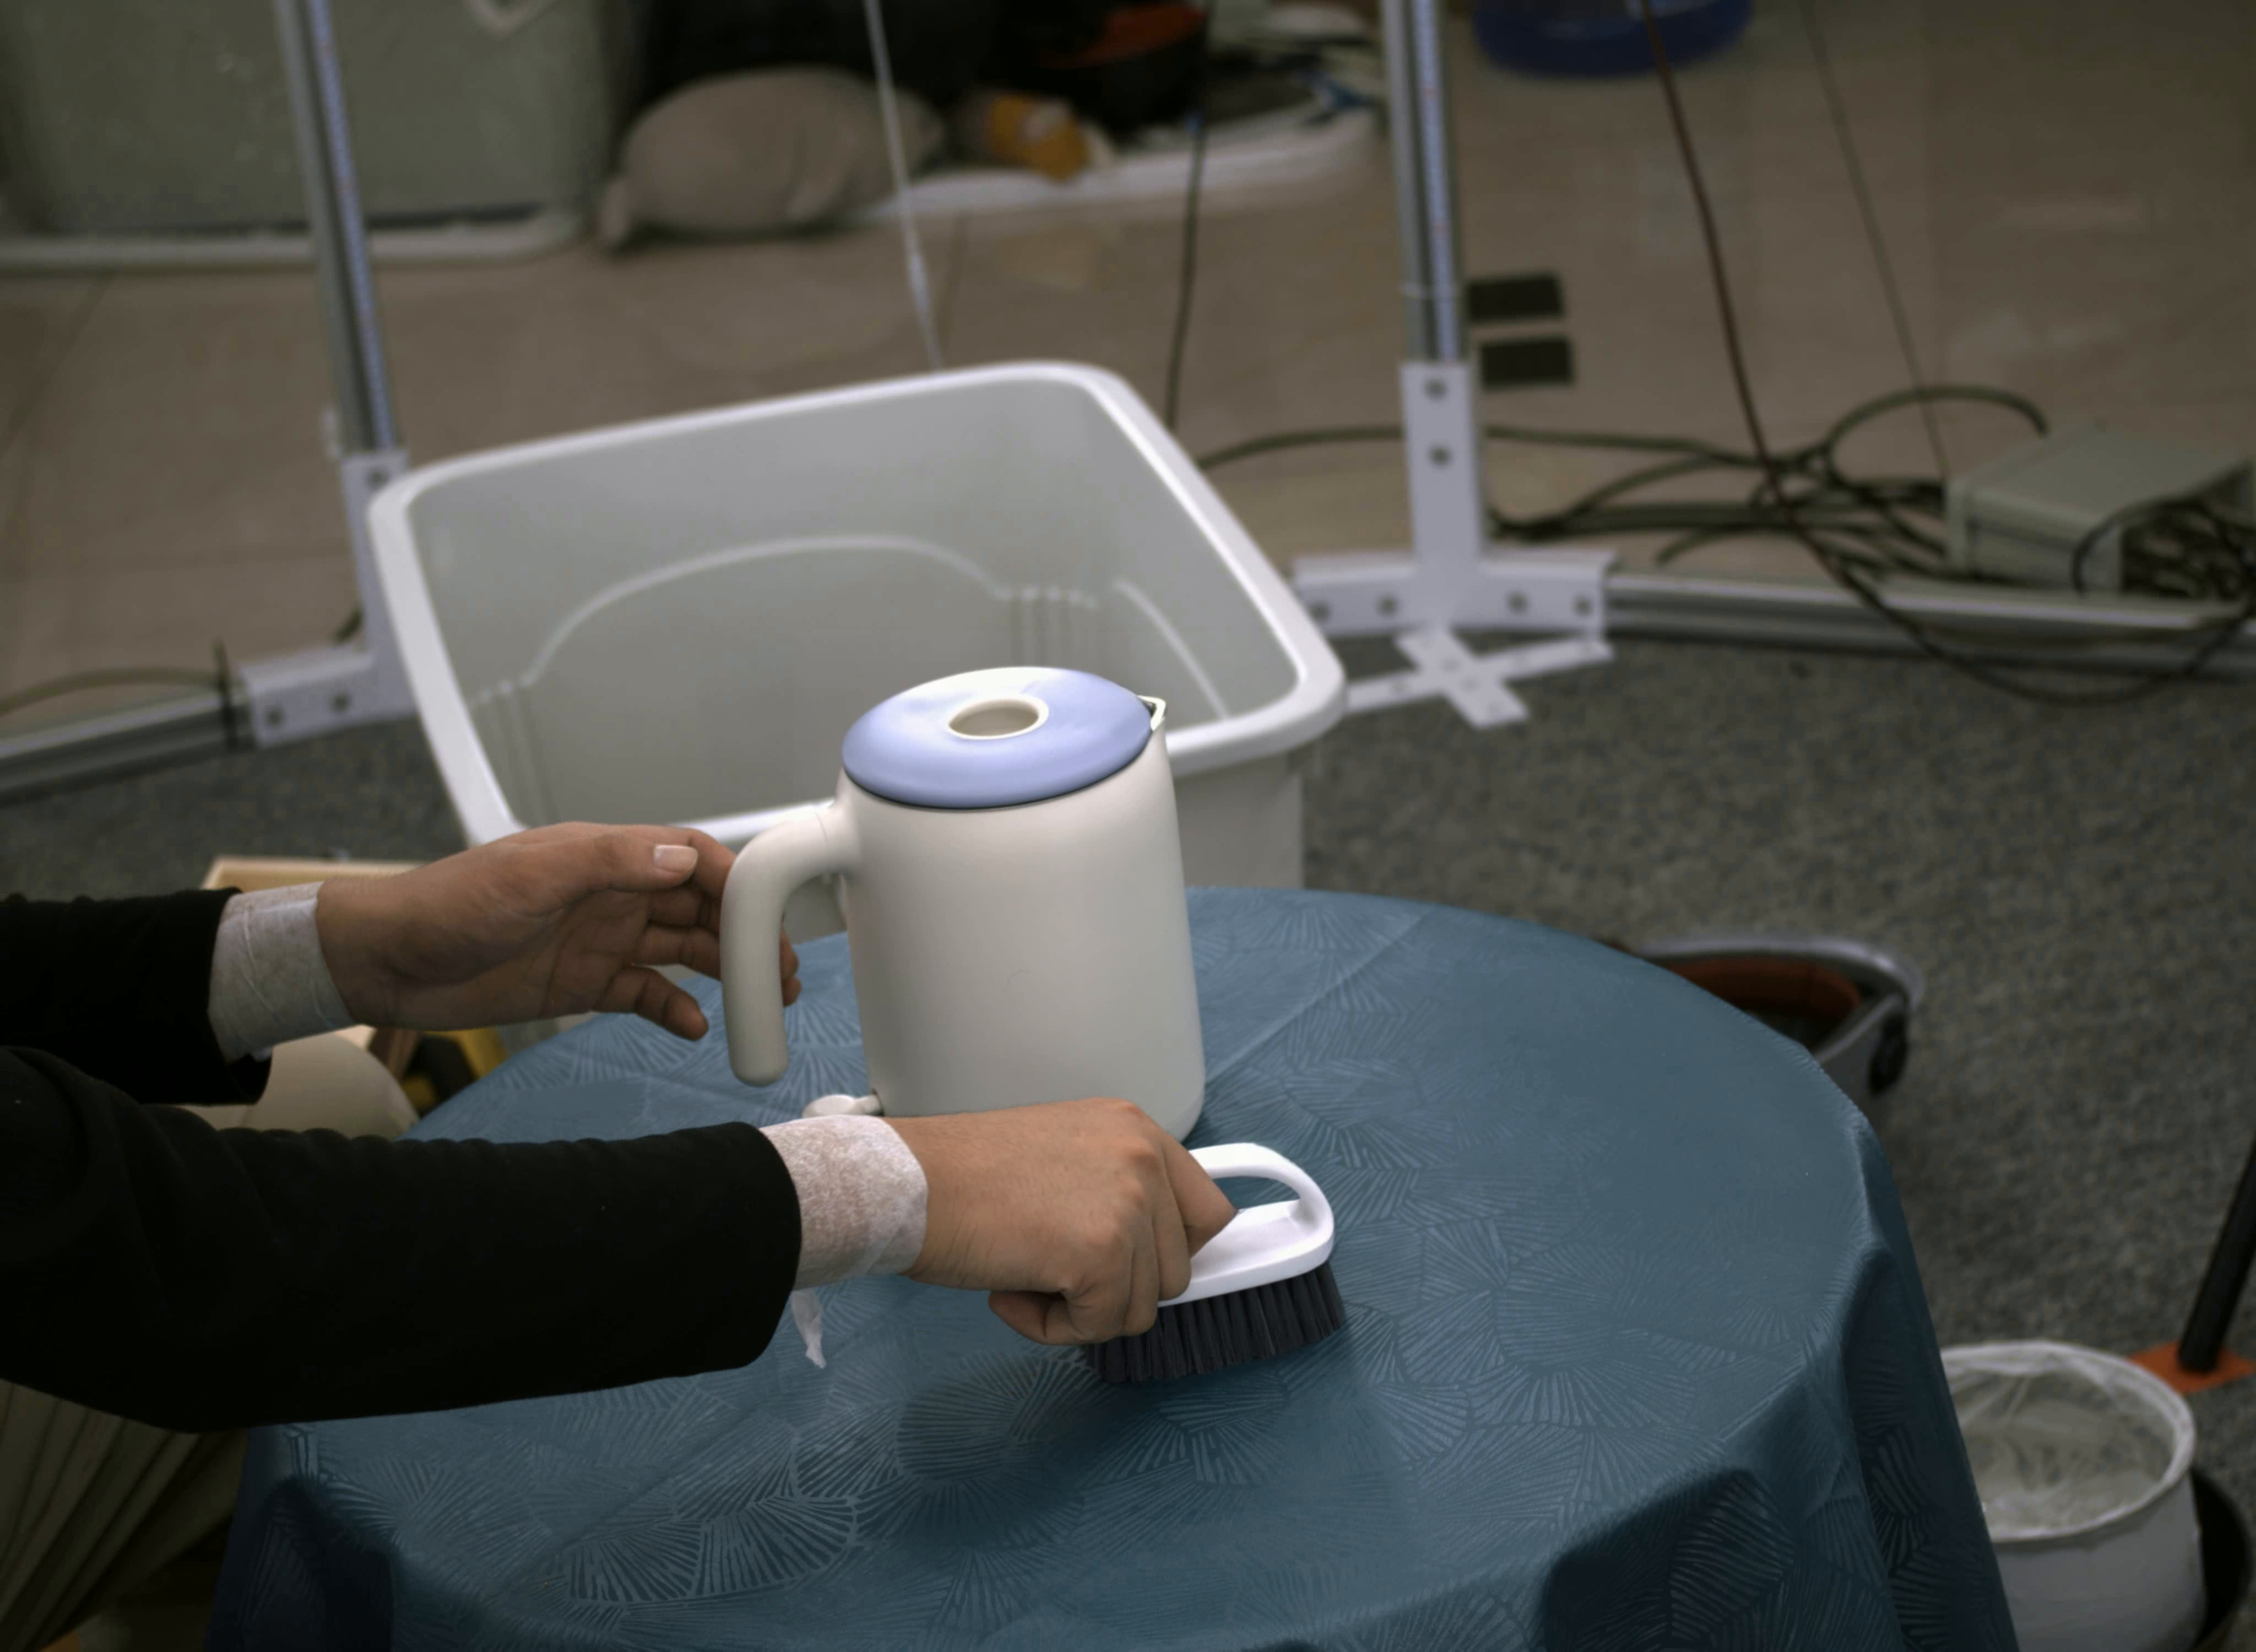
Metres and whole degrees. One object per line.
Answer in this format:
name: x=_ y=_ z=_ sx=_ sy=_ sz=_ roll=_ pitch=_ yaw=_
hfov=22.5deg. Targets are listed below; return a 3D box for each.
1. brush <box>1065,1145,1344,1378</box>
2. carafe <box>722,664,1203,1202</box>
brush: x=0.025 y=0.150 z=2.028 sx=0.099 sy=0.073 sz=0.049 roll=-11 pitch=26 yaw=-10
carafe: x=-0.065 y=0.046 z=2.157 sx=0.190 sy=0.185 sz=0.130 roll=-16 pitch=27 yaw=-17
